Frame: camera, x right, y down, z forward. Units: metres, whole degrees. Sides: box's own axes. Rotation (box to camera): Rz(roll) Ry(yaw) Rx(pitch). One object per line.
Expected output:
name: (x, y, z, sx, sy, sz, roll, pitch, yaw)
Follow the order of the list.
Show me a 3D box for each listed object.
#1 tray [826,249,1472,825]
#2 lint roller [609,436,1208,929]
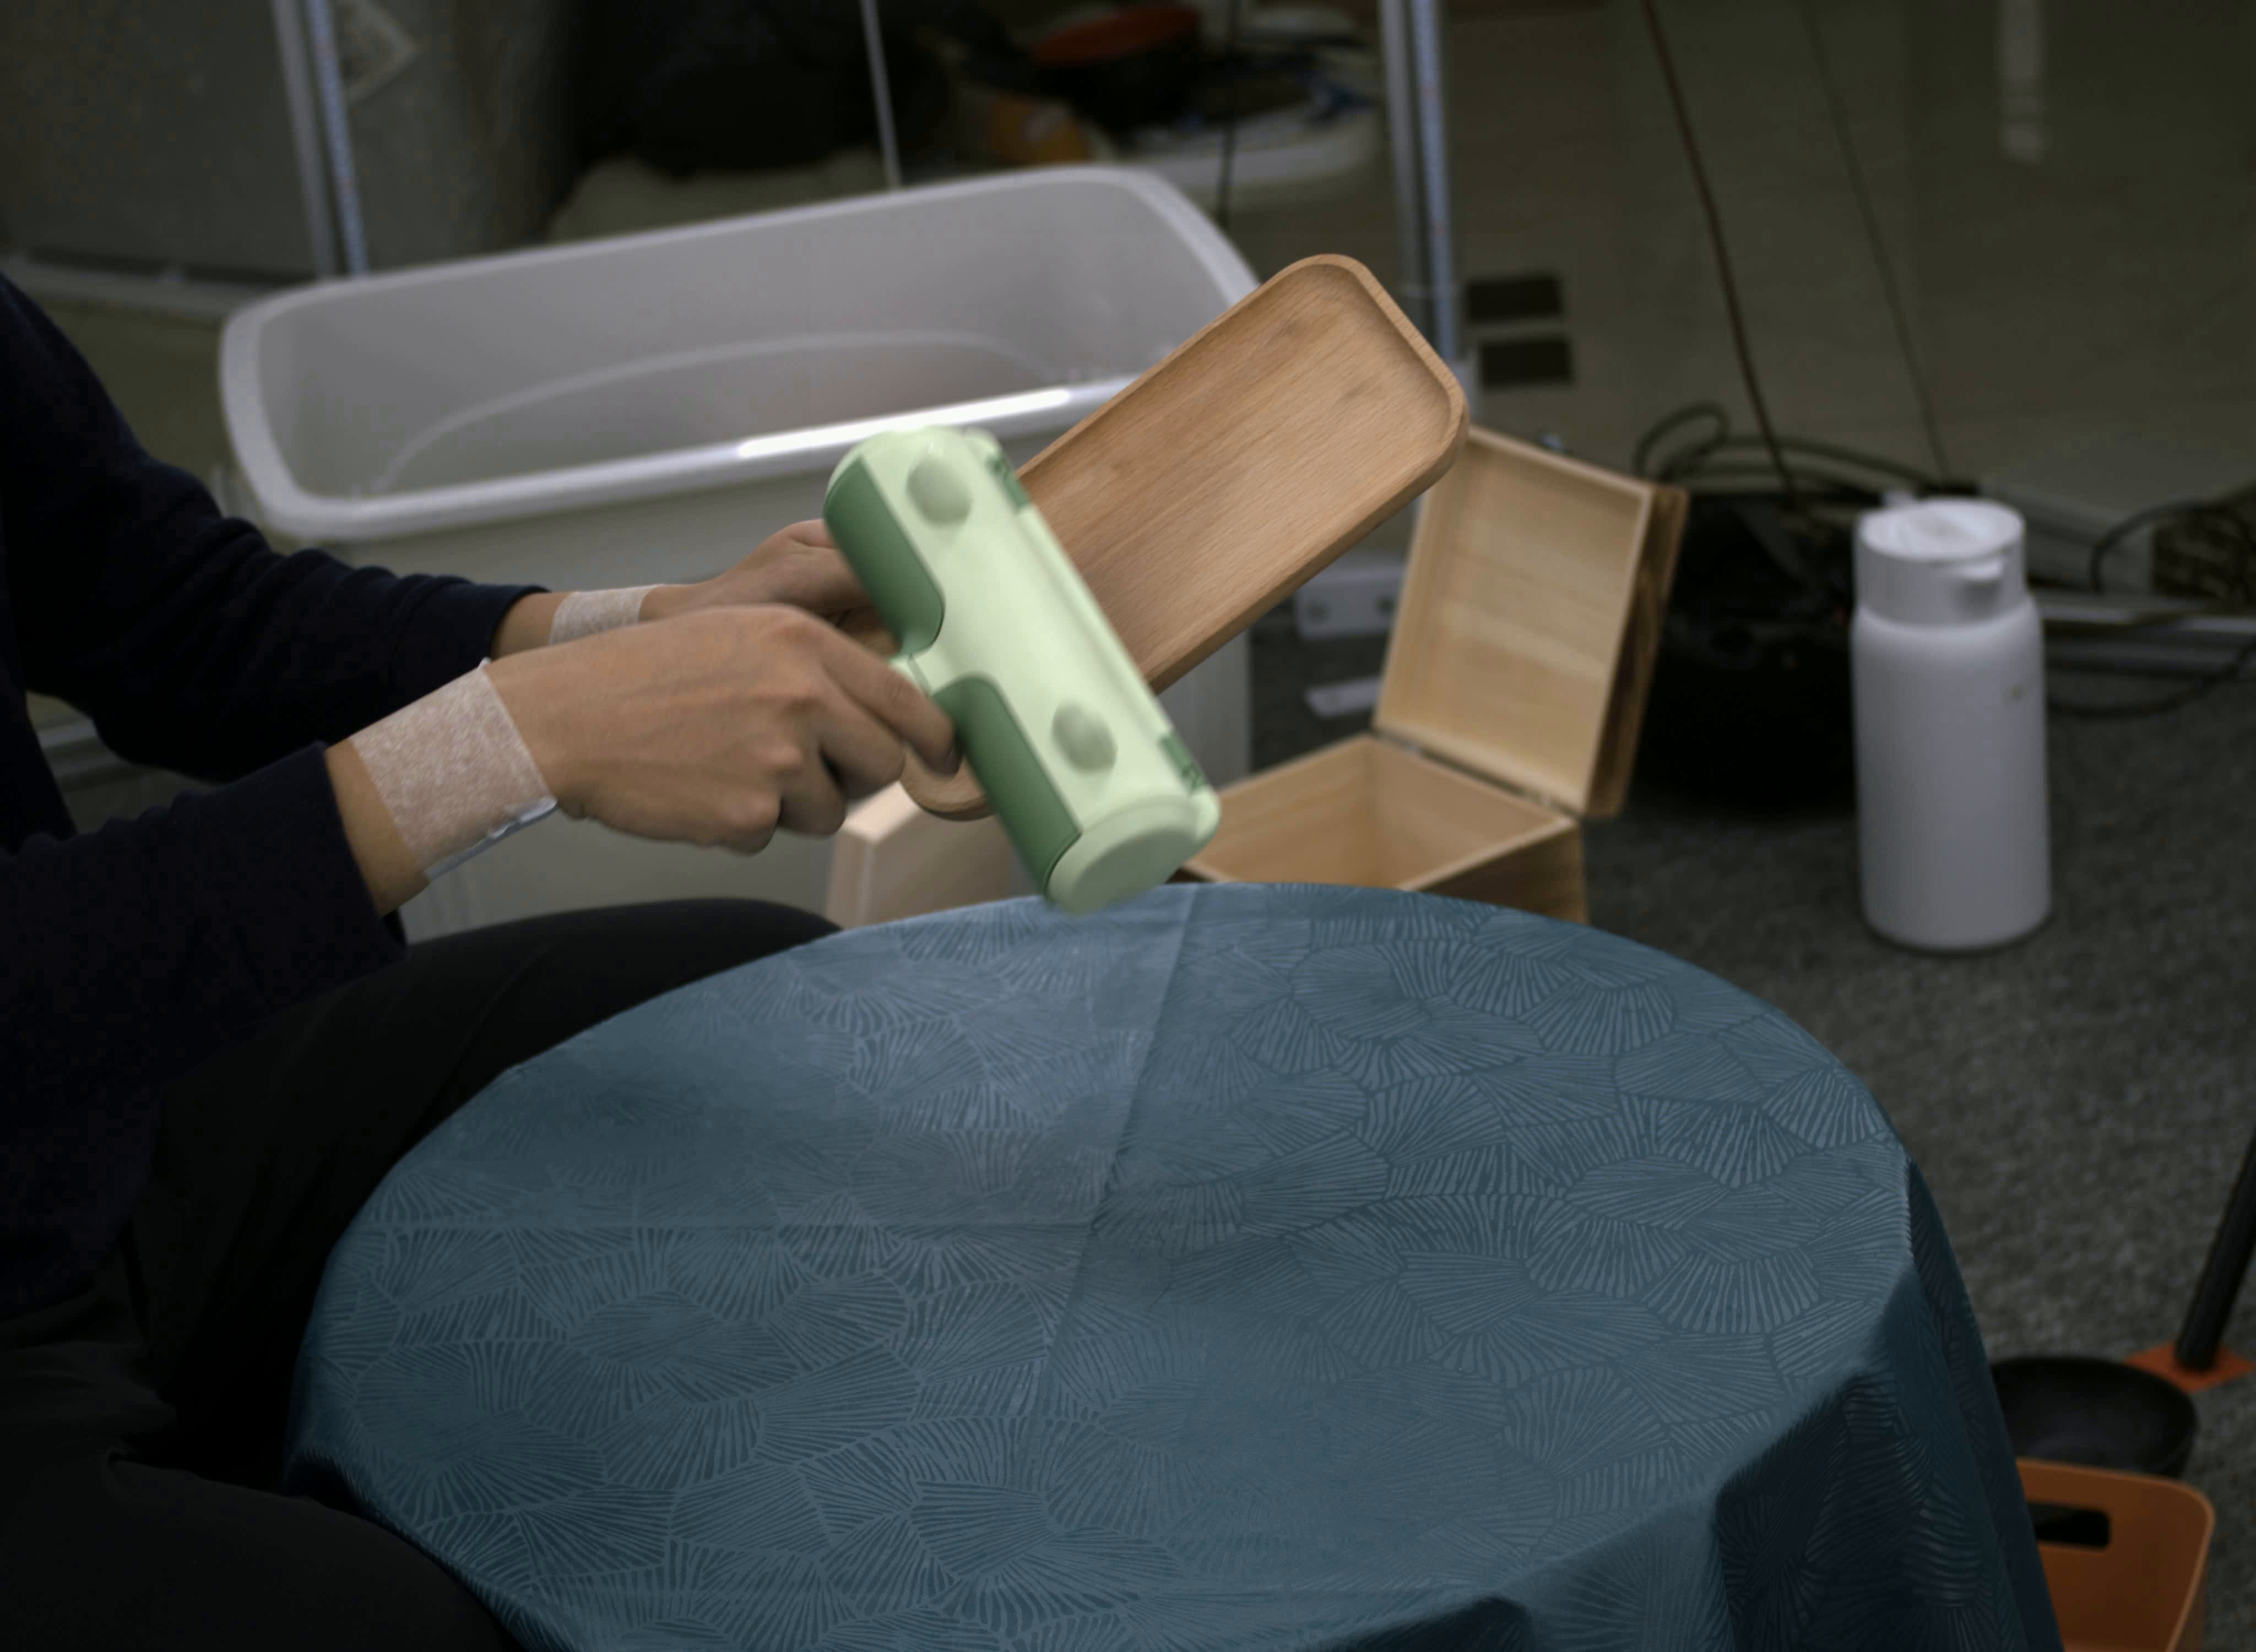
tray: (0.007, -0.106, 2.074, 0.251, 0.023, 0.128, -38, 48, 5)
lint roller: (-0.090, -0.049, 1.949, 0.182, 0.083, 0.196, -11, 56, -33)
